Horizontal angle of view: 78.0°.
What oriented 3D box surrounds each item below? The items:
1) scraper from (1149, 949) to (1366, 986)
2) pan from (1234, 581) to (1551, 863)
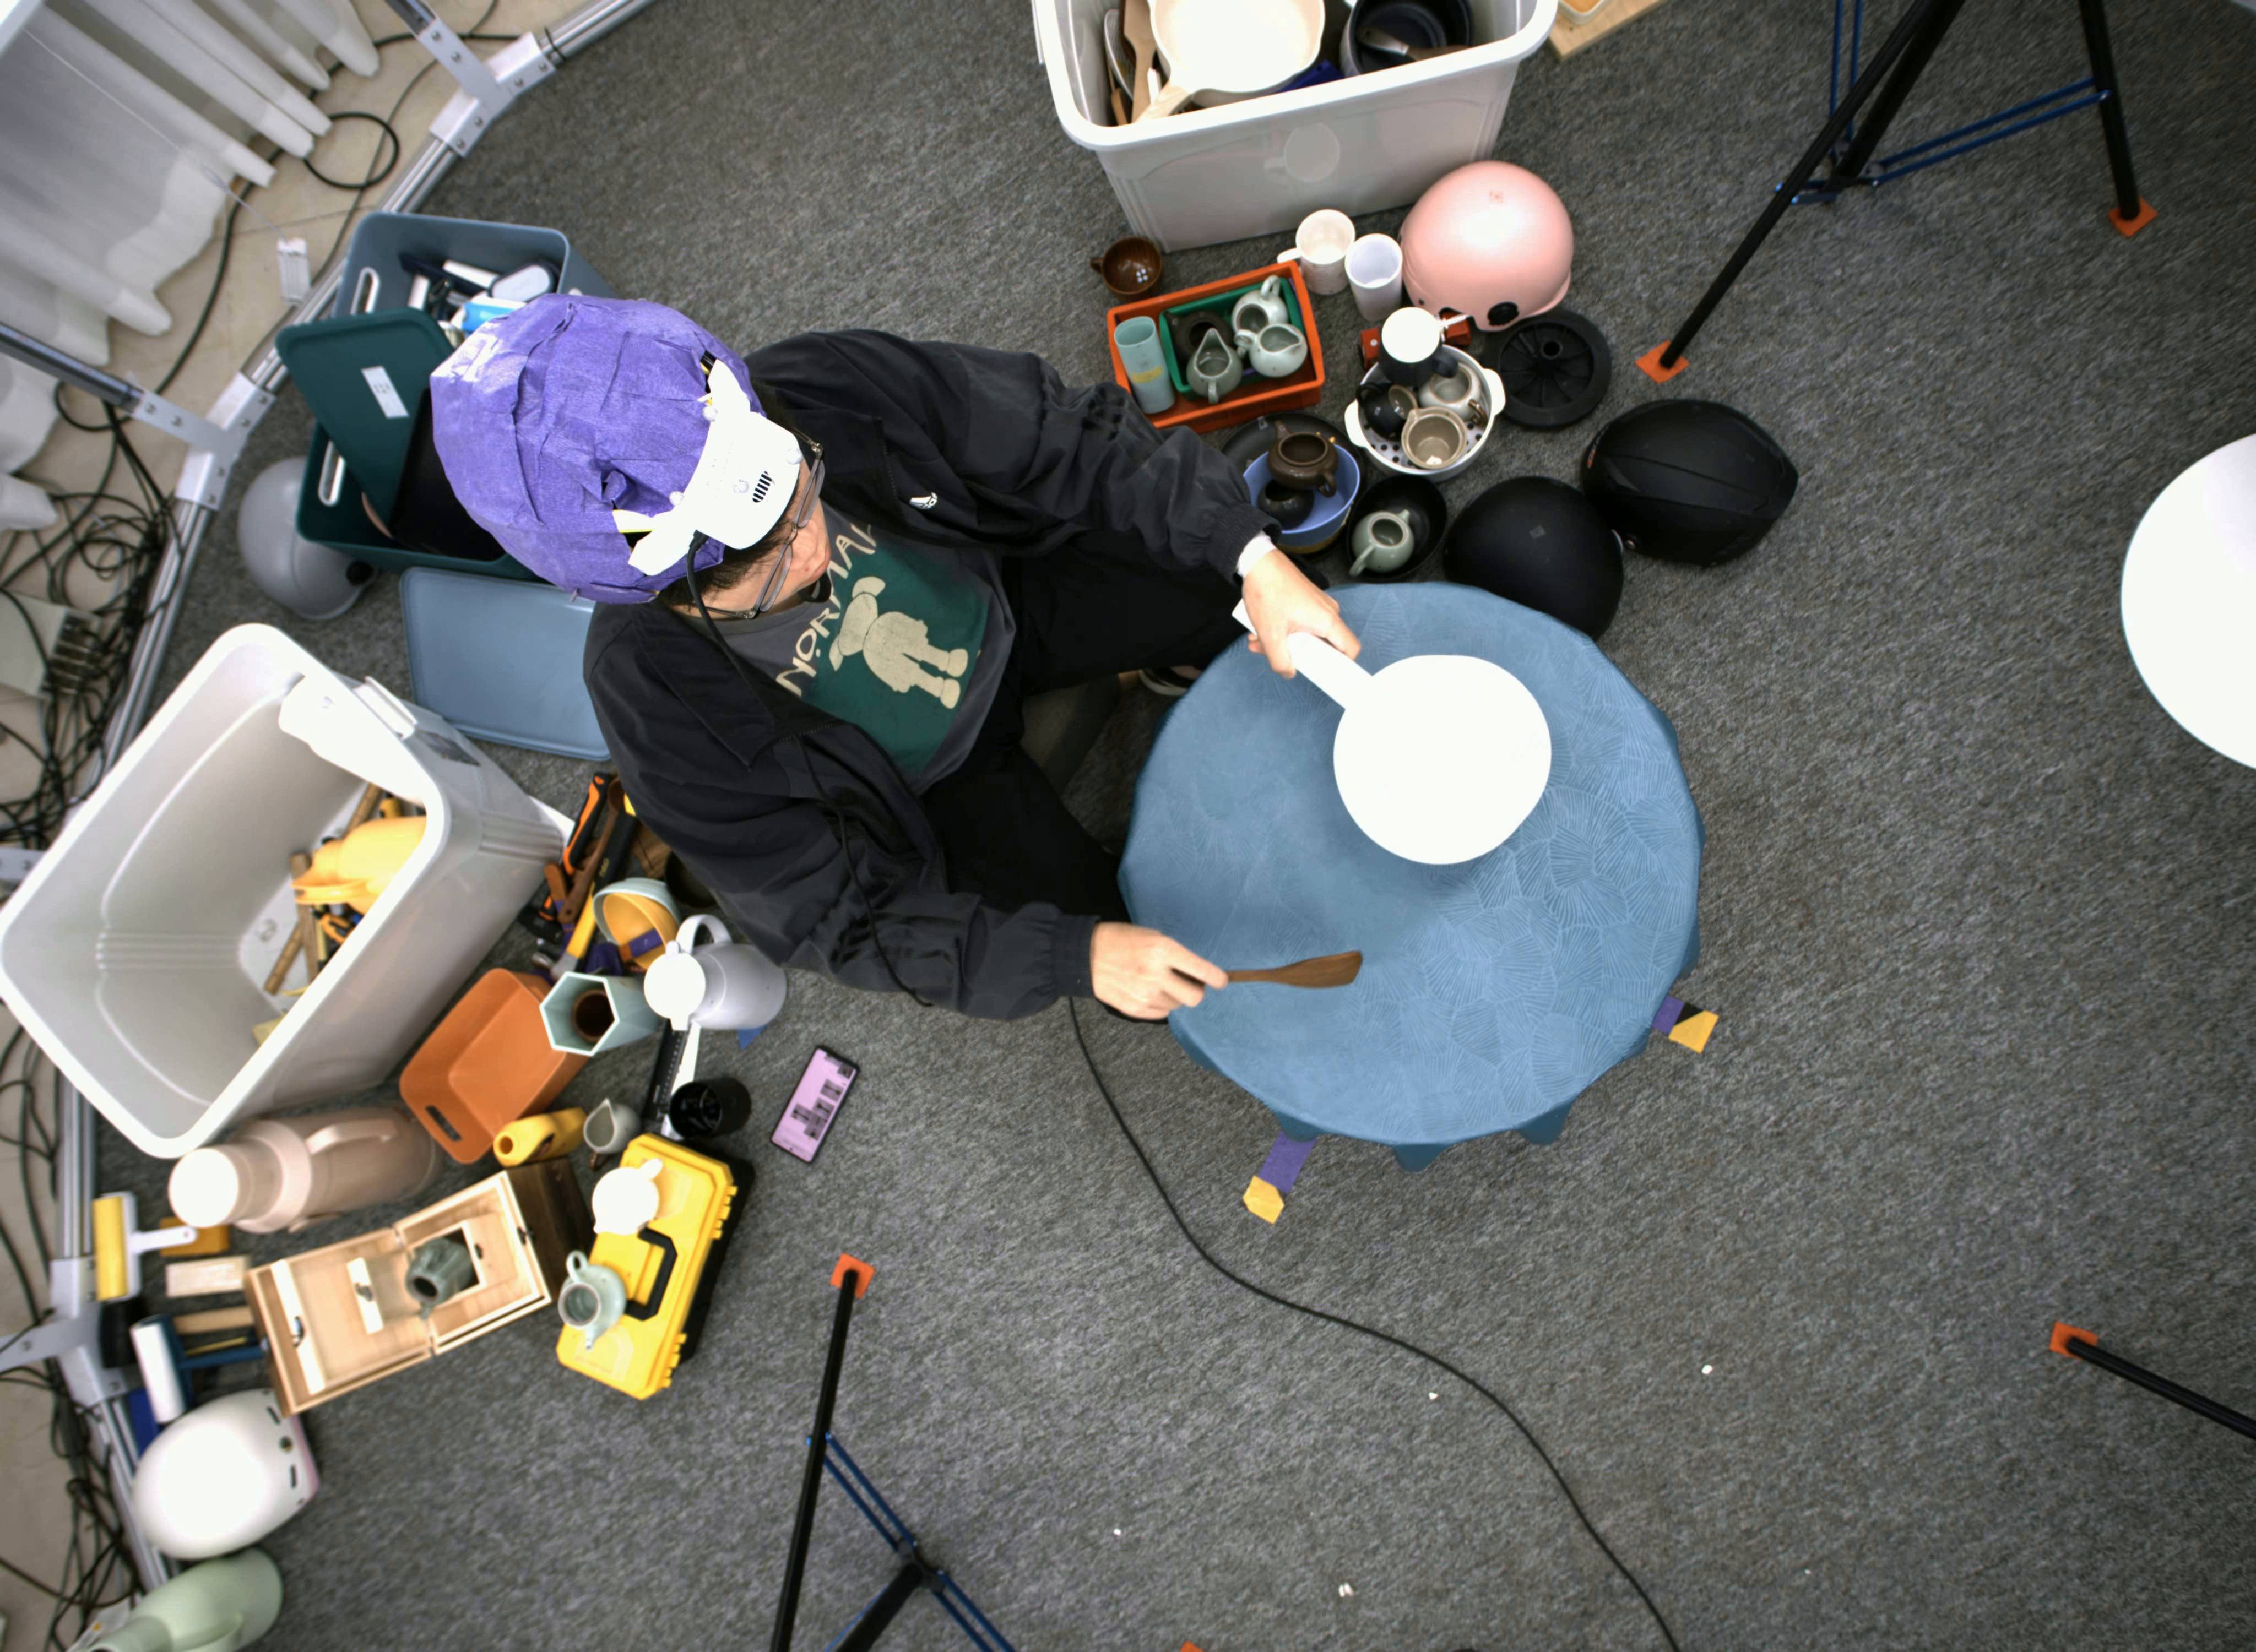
[{"bbox_3d":[0.125,0.142,1.348,0.212,0.077,0.010,-5,64,8],"label":"scraper"},{"bbox_3d":[0.259,-0.122,1.372,0.352,0.100,0.205,43,120,15],"label":"pan"}]
